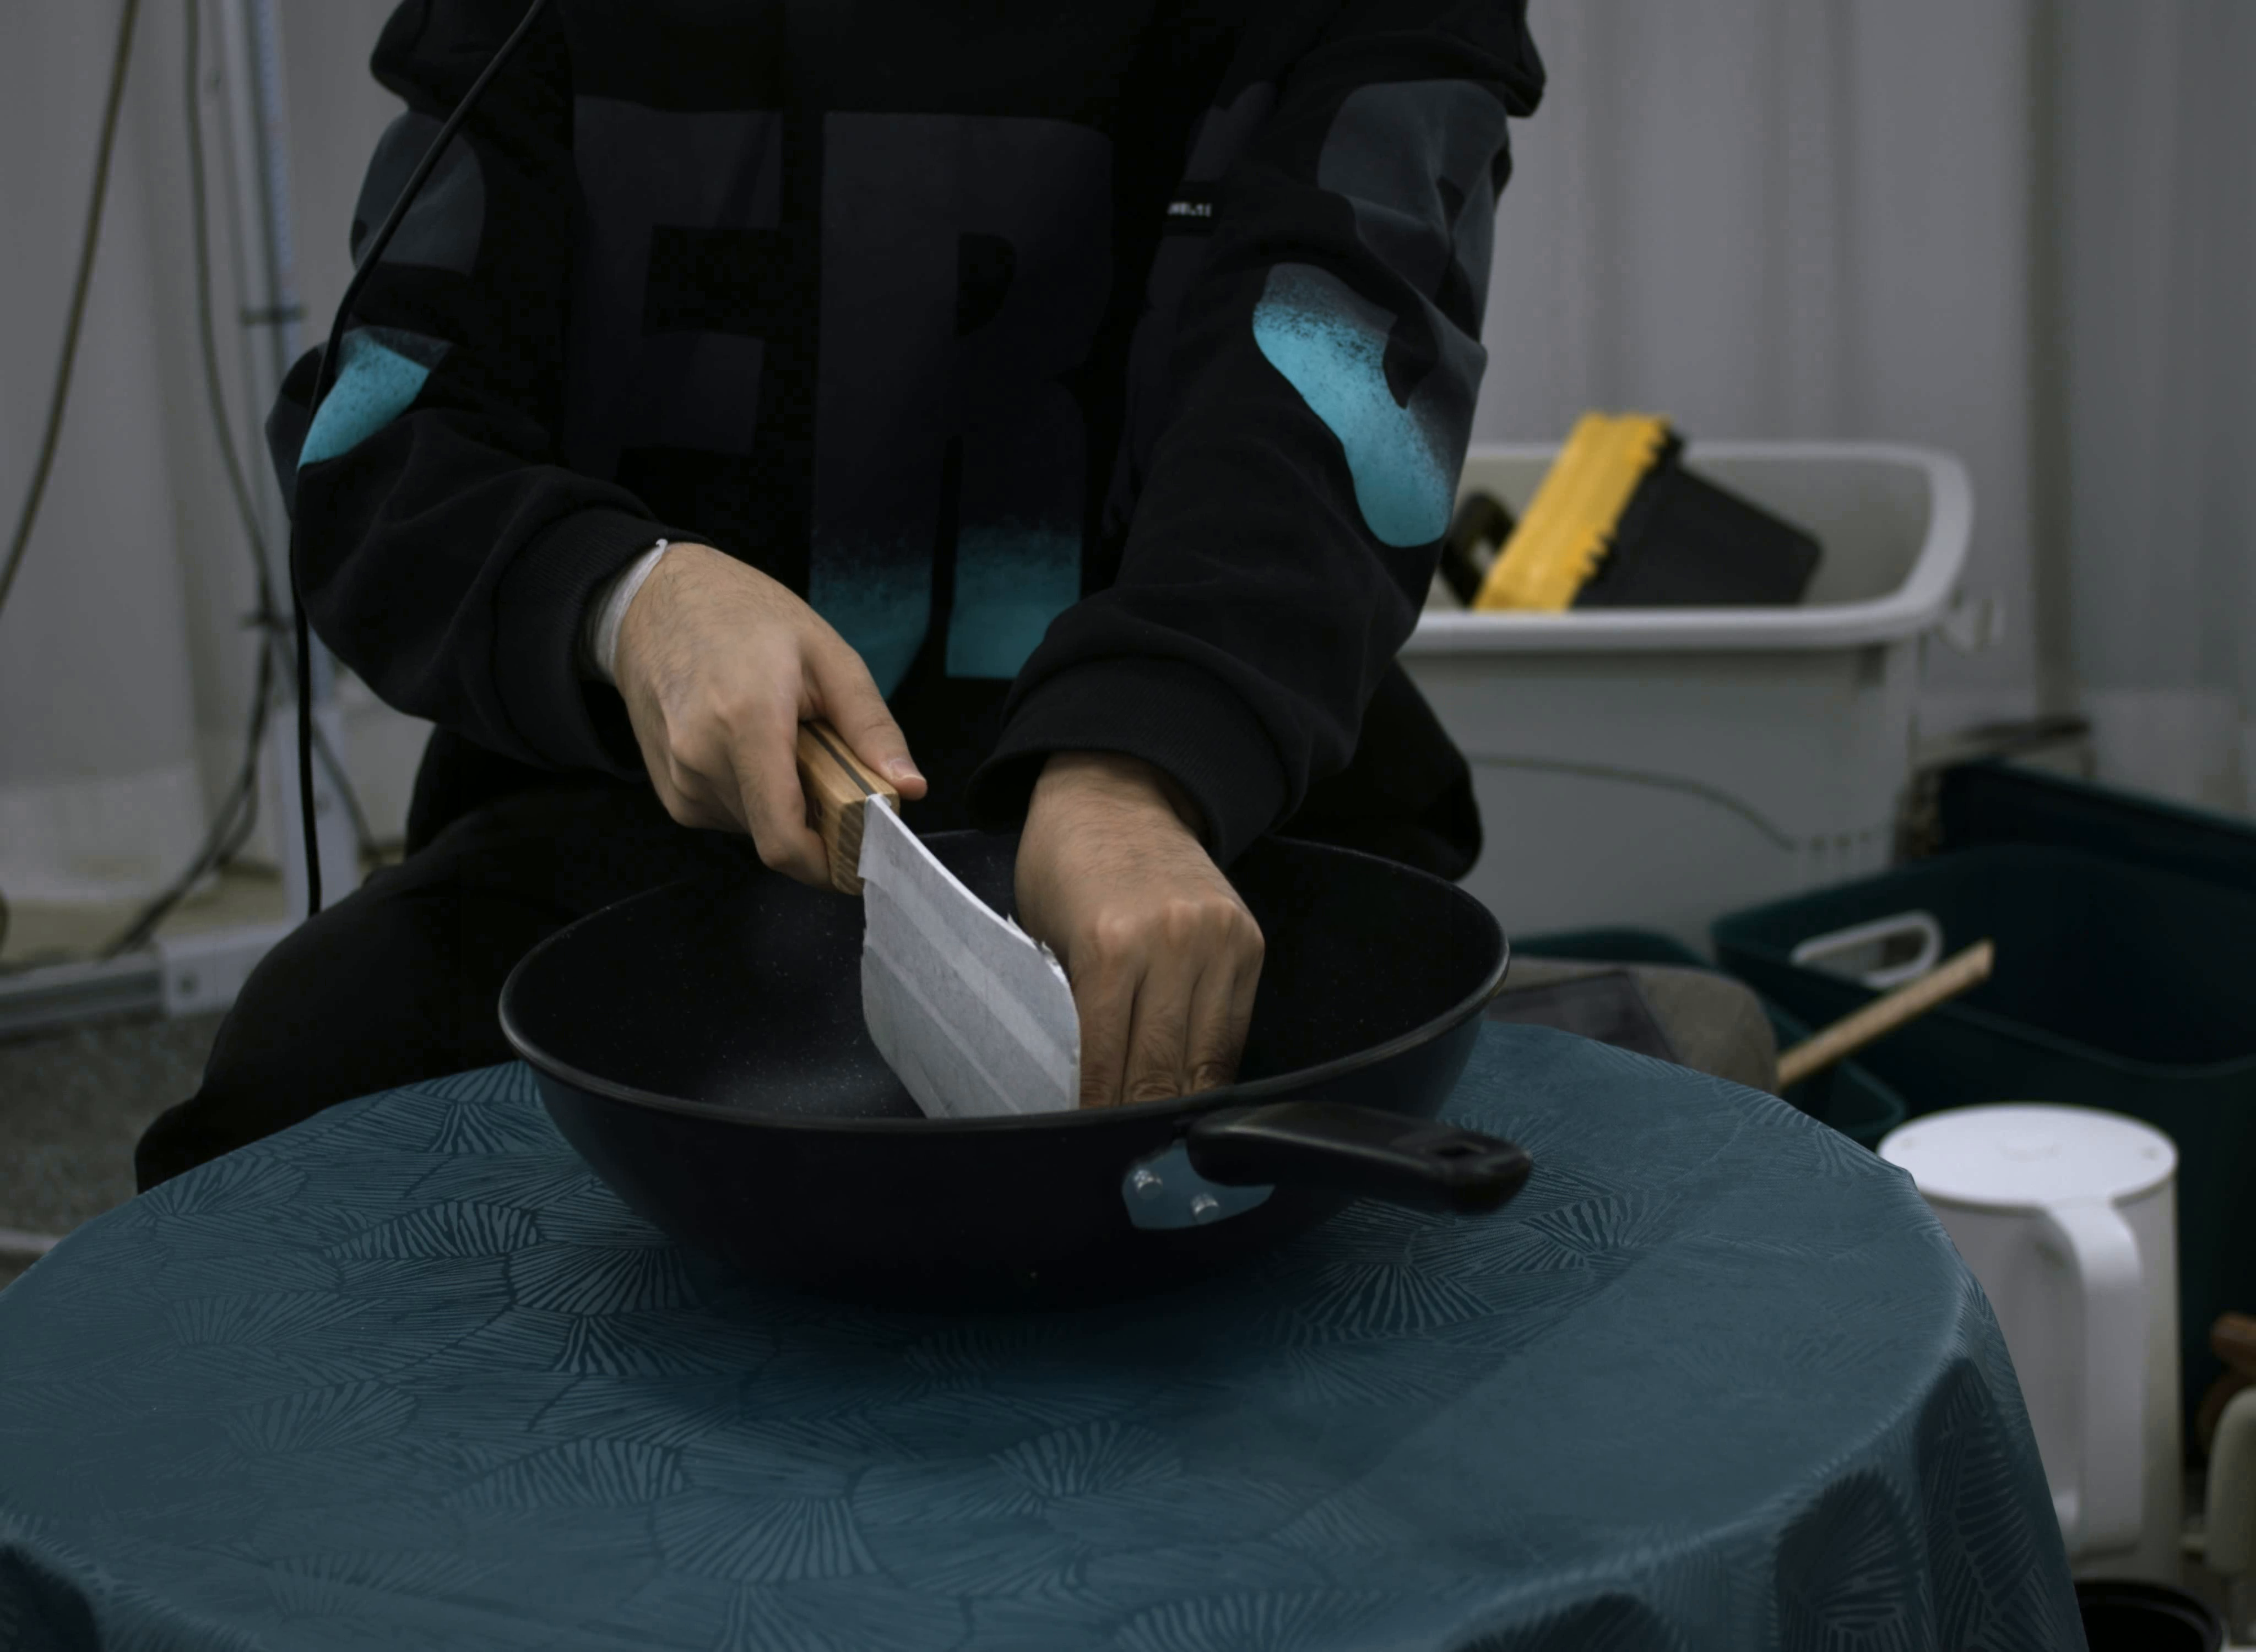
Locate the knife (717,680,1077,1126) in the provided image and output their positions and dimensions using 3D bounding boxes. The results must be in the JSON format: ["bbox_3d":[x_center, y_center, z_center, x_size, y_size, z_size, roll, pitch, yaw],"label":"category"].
[{"bbox_3d":[-0.071,0.030,1.717,0.021,0.113,0.319,-7,28,-21],"label":"knife"}]

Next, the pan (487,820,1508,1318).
[{"bbox_3d":[-0.006,0.089,1.610,0.309,0.111,0.480,-11,17,-22],"label":"pan"}]
